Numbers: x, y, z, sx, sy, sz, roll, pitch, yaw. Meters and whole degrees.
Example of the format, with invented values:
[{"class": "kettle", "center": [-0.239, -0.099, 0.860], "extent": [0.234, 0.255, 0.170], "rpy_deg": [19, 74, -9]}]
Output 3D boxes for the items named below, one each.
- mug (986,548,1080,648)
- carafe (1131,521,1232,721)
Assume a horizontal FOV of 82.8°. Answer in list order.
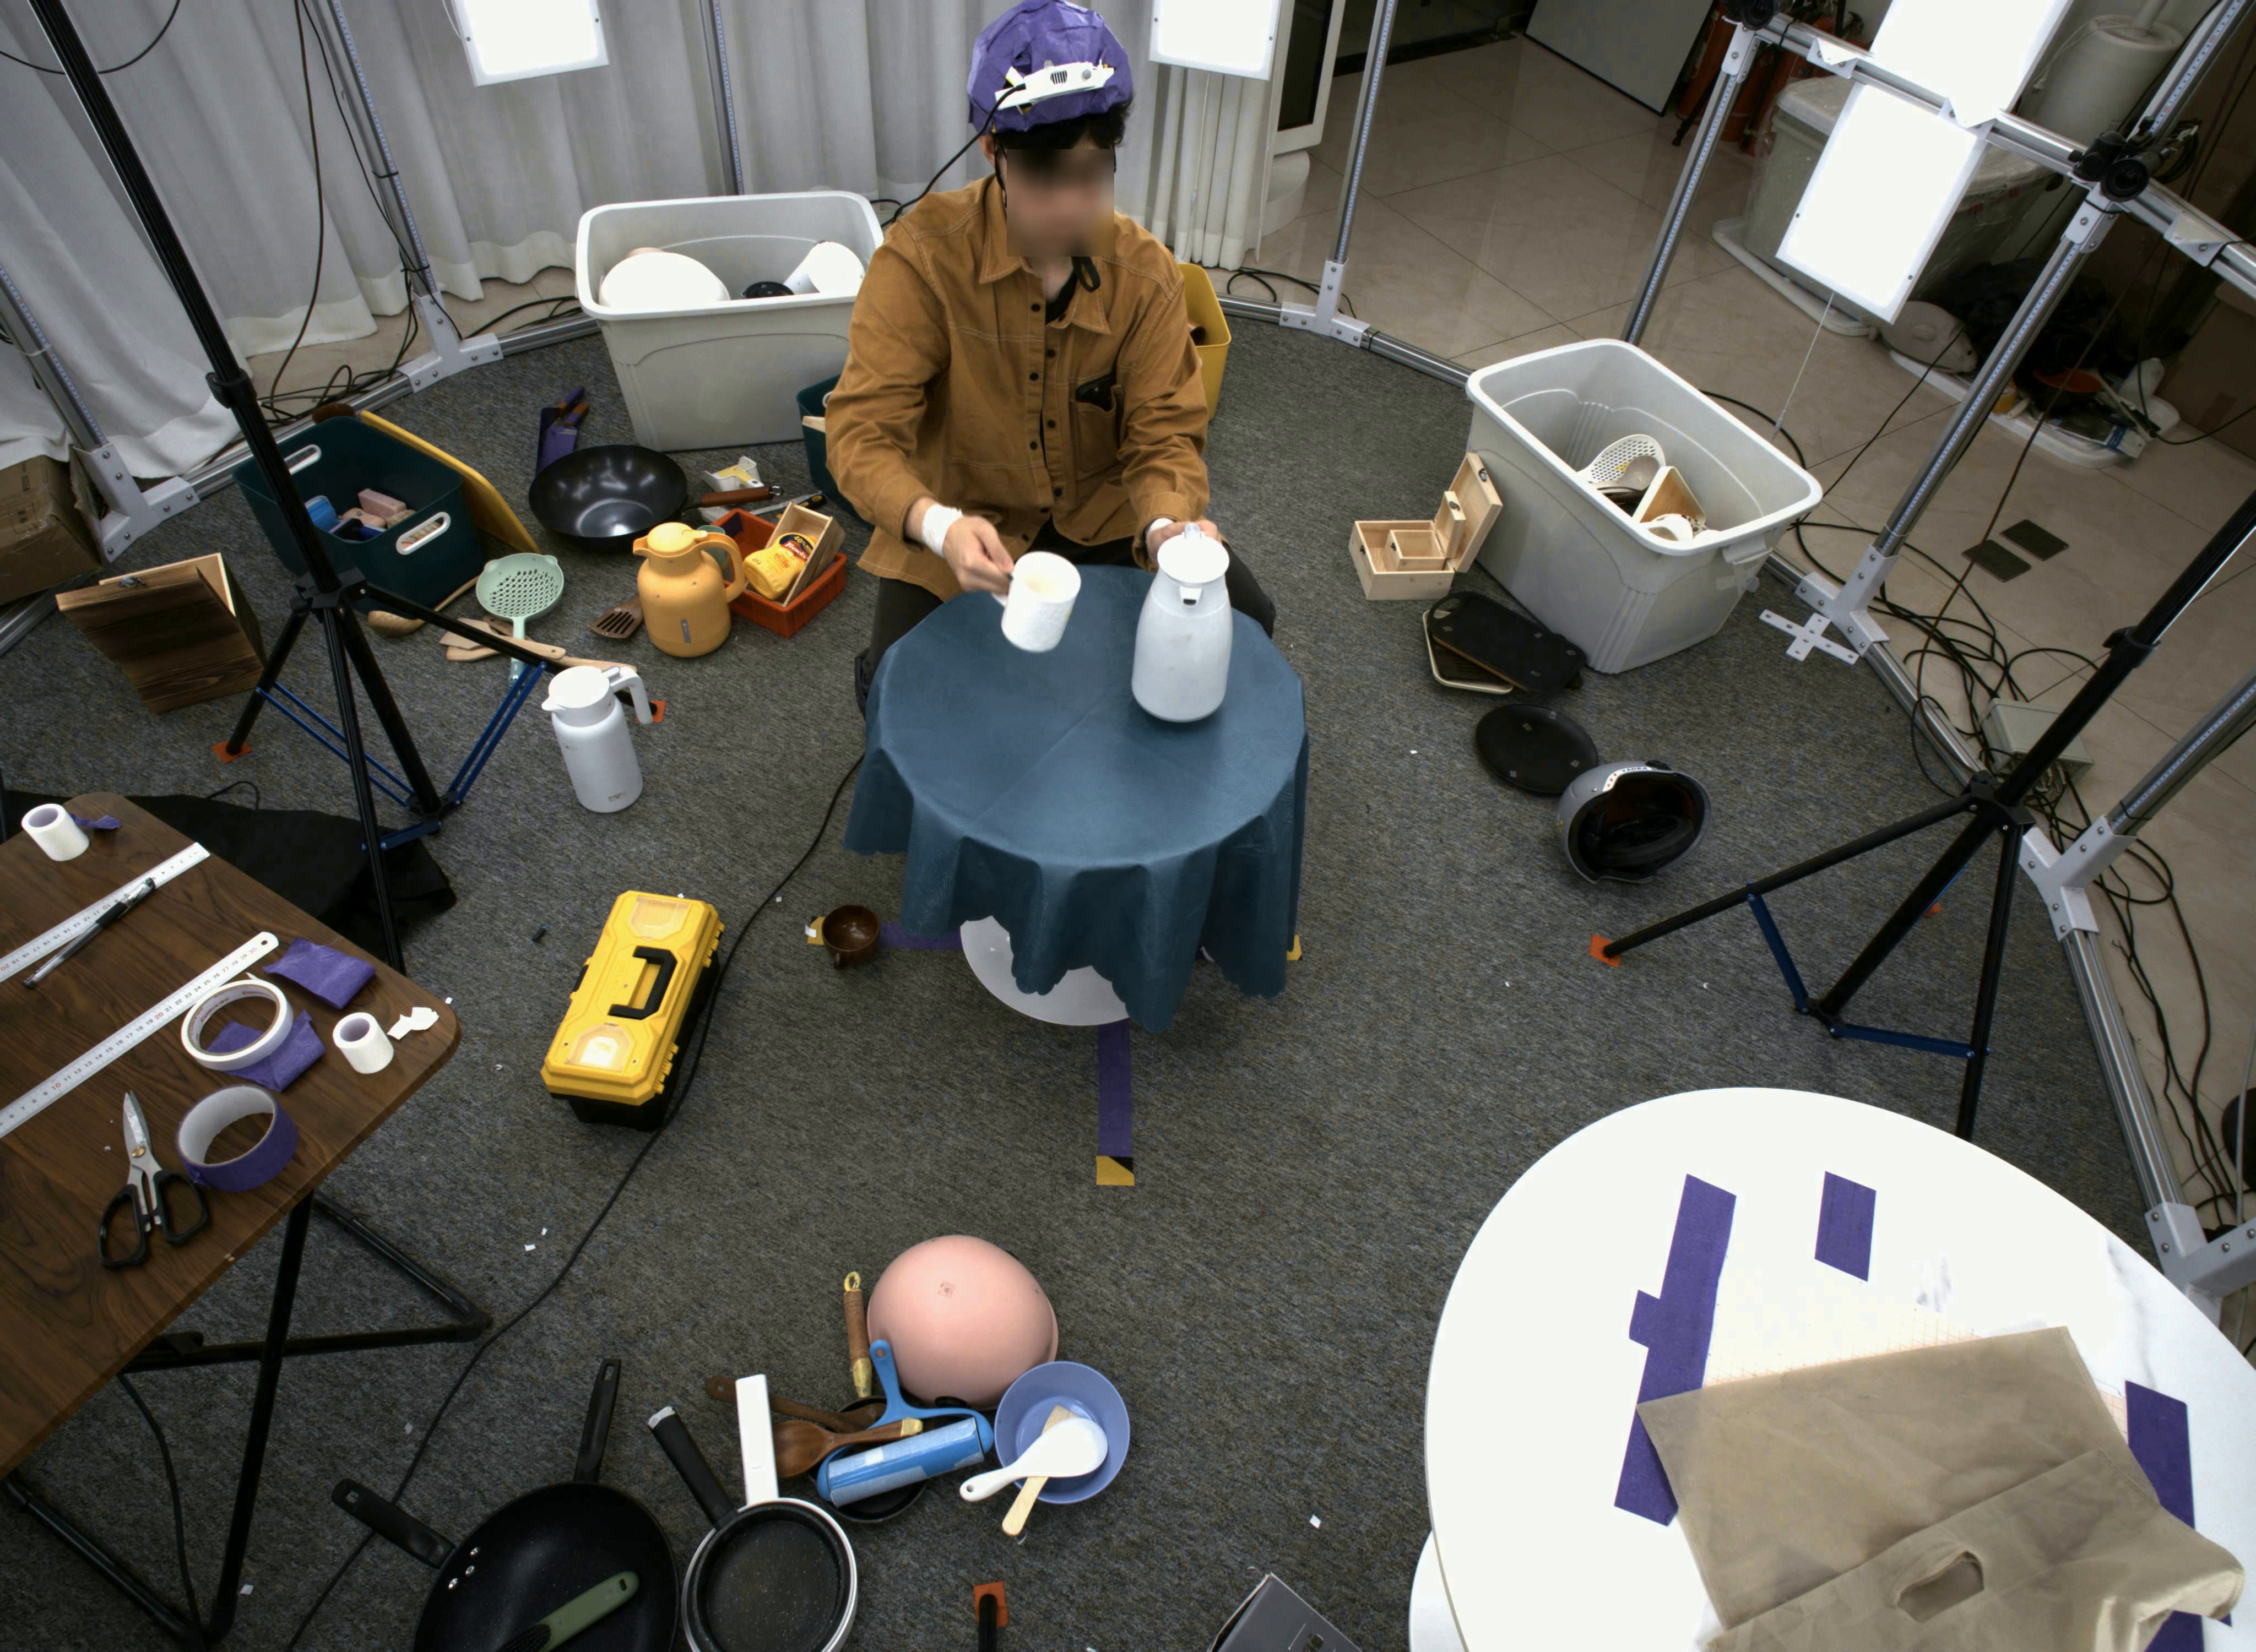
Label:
[{"class": "mug", "center": [-0.129, -0.299, 1.660], "extent": [0.118, 0.100, 0.086], "rpy_deg": [28, 51, 3]}, {"class": "carafe", "center": [0.075, -0.286, 1.720], "extent": [0.132, 0.242, 0.172], "rpy_deg": [3, 51, 1]}]
